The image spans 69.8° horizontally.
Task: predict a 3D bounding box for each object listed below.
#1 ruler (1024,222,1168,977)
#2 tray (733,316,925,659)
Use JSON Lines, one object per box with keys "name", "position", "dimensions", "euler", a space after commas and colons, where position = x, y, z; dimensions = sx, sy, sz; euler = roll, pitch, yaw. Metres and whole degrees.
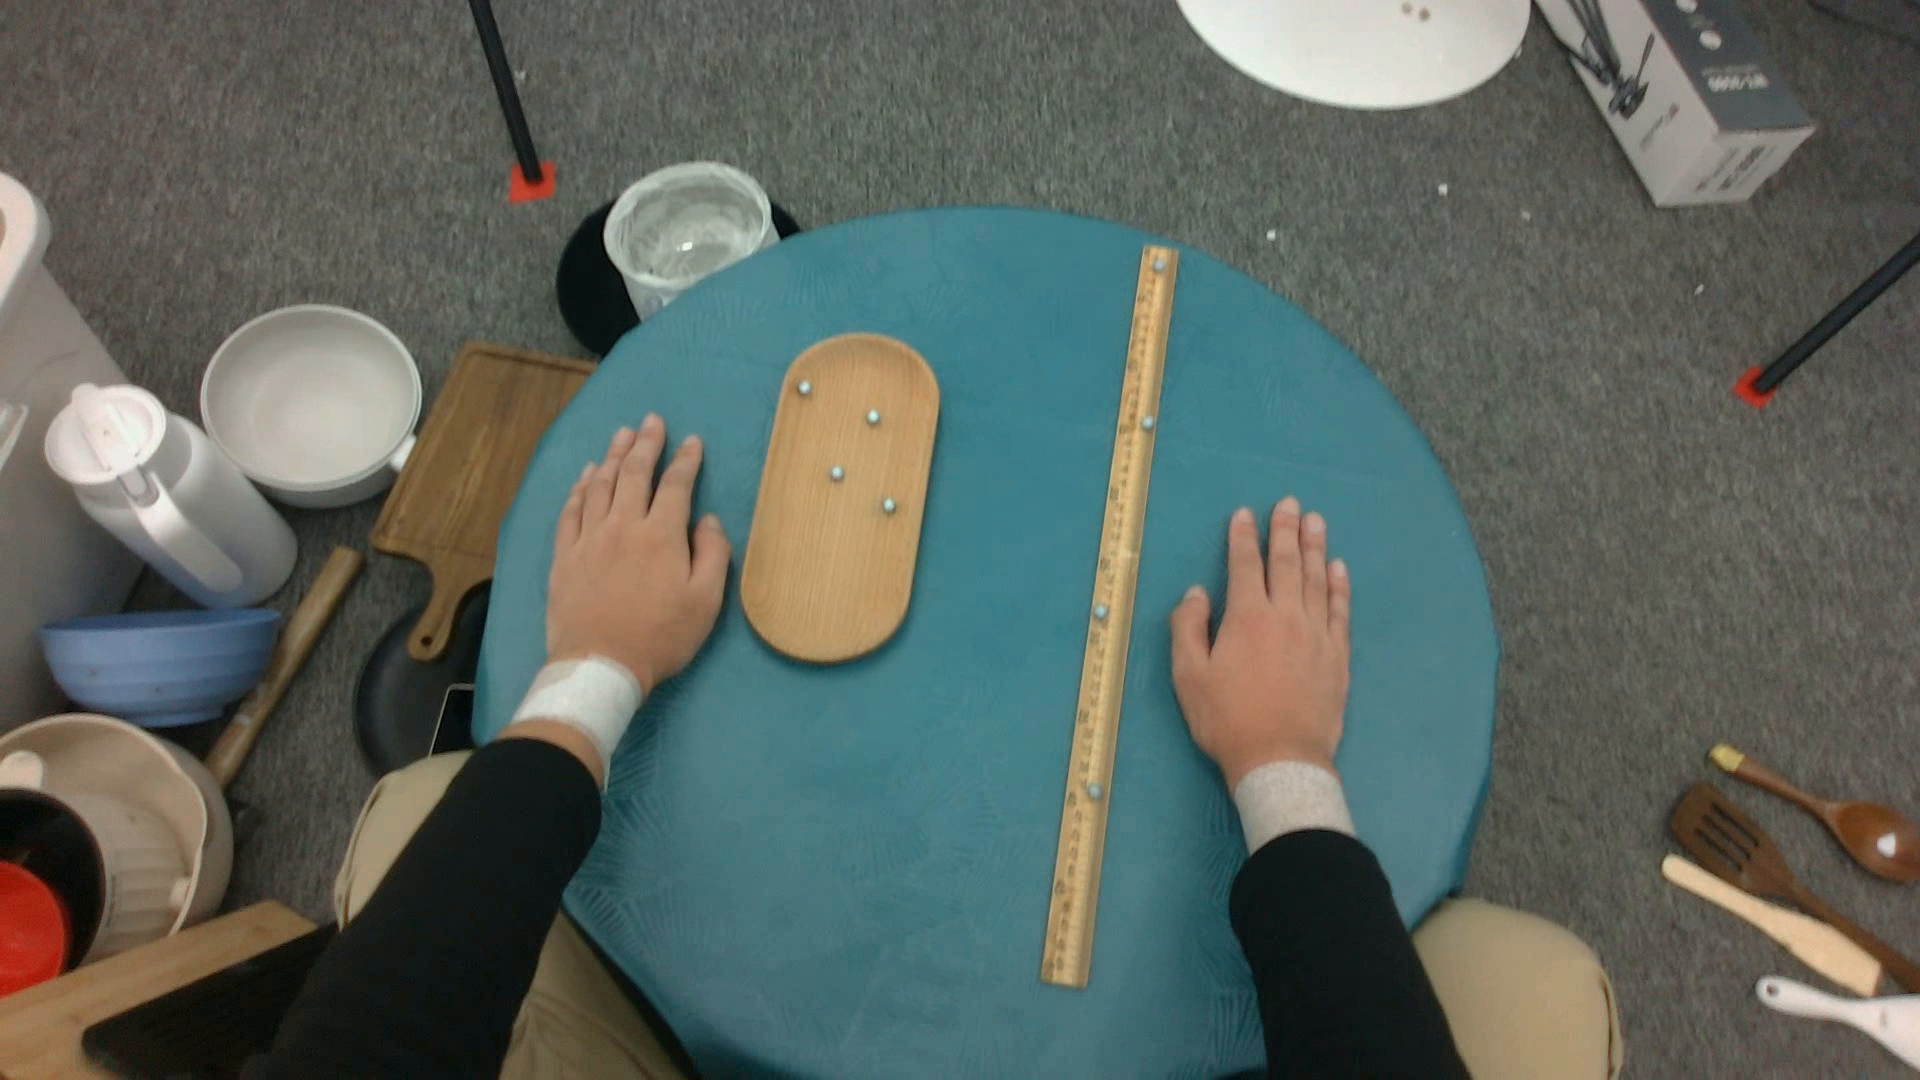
{"name": "ruler", "position": [0.087, 0.006, 0.832], "dimensions": [0.027, 0.006, 0.502], "euler": [9, 64, 3]}
{"name": "tray", "position": [-0.077, -0.036, 0.837], "dimensions": [0.101, 0.020, 0.232], "euler": [4, 66, 1]}
